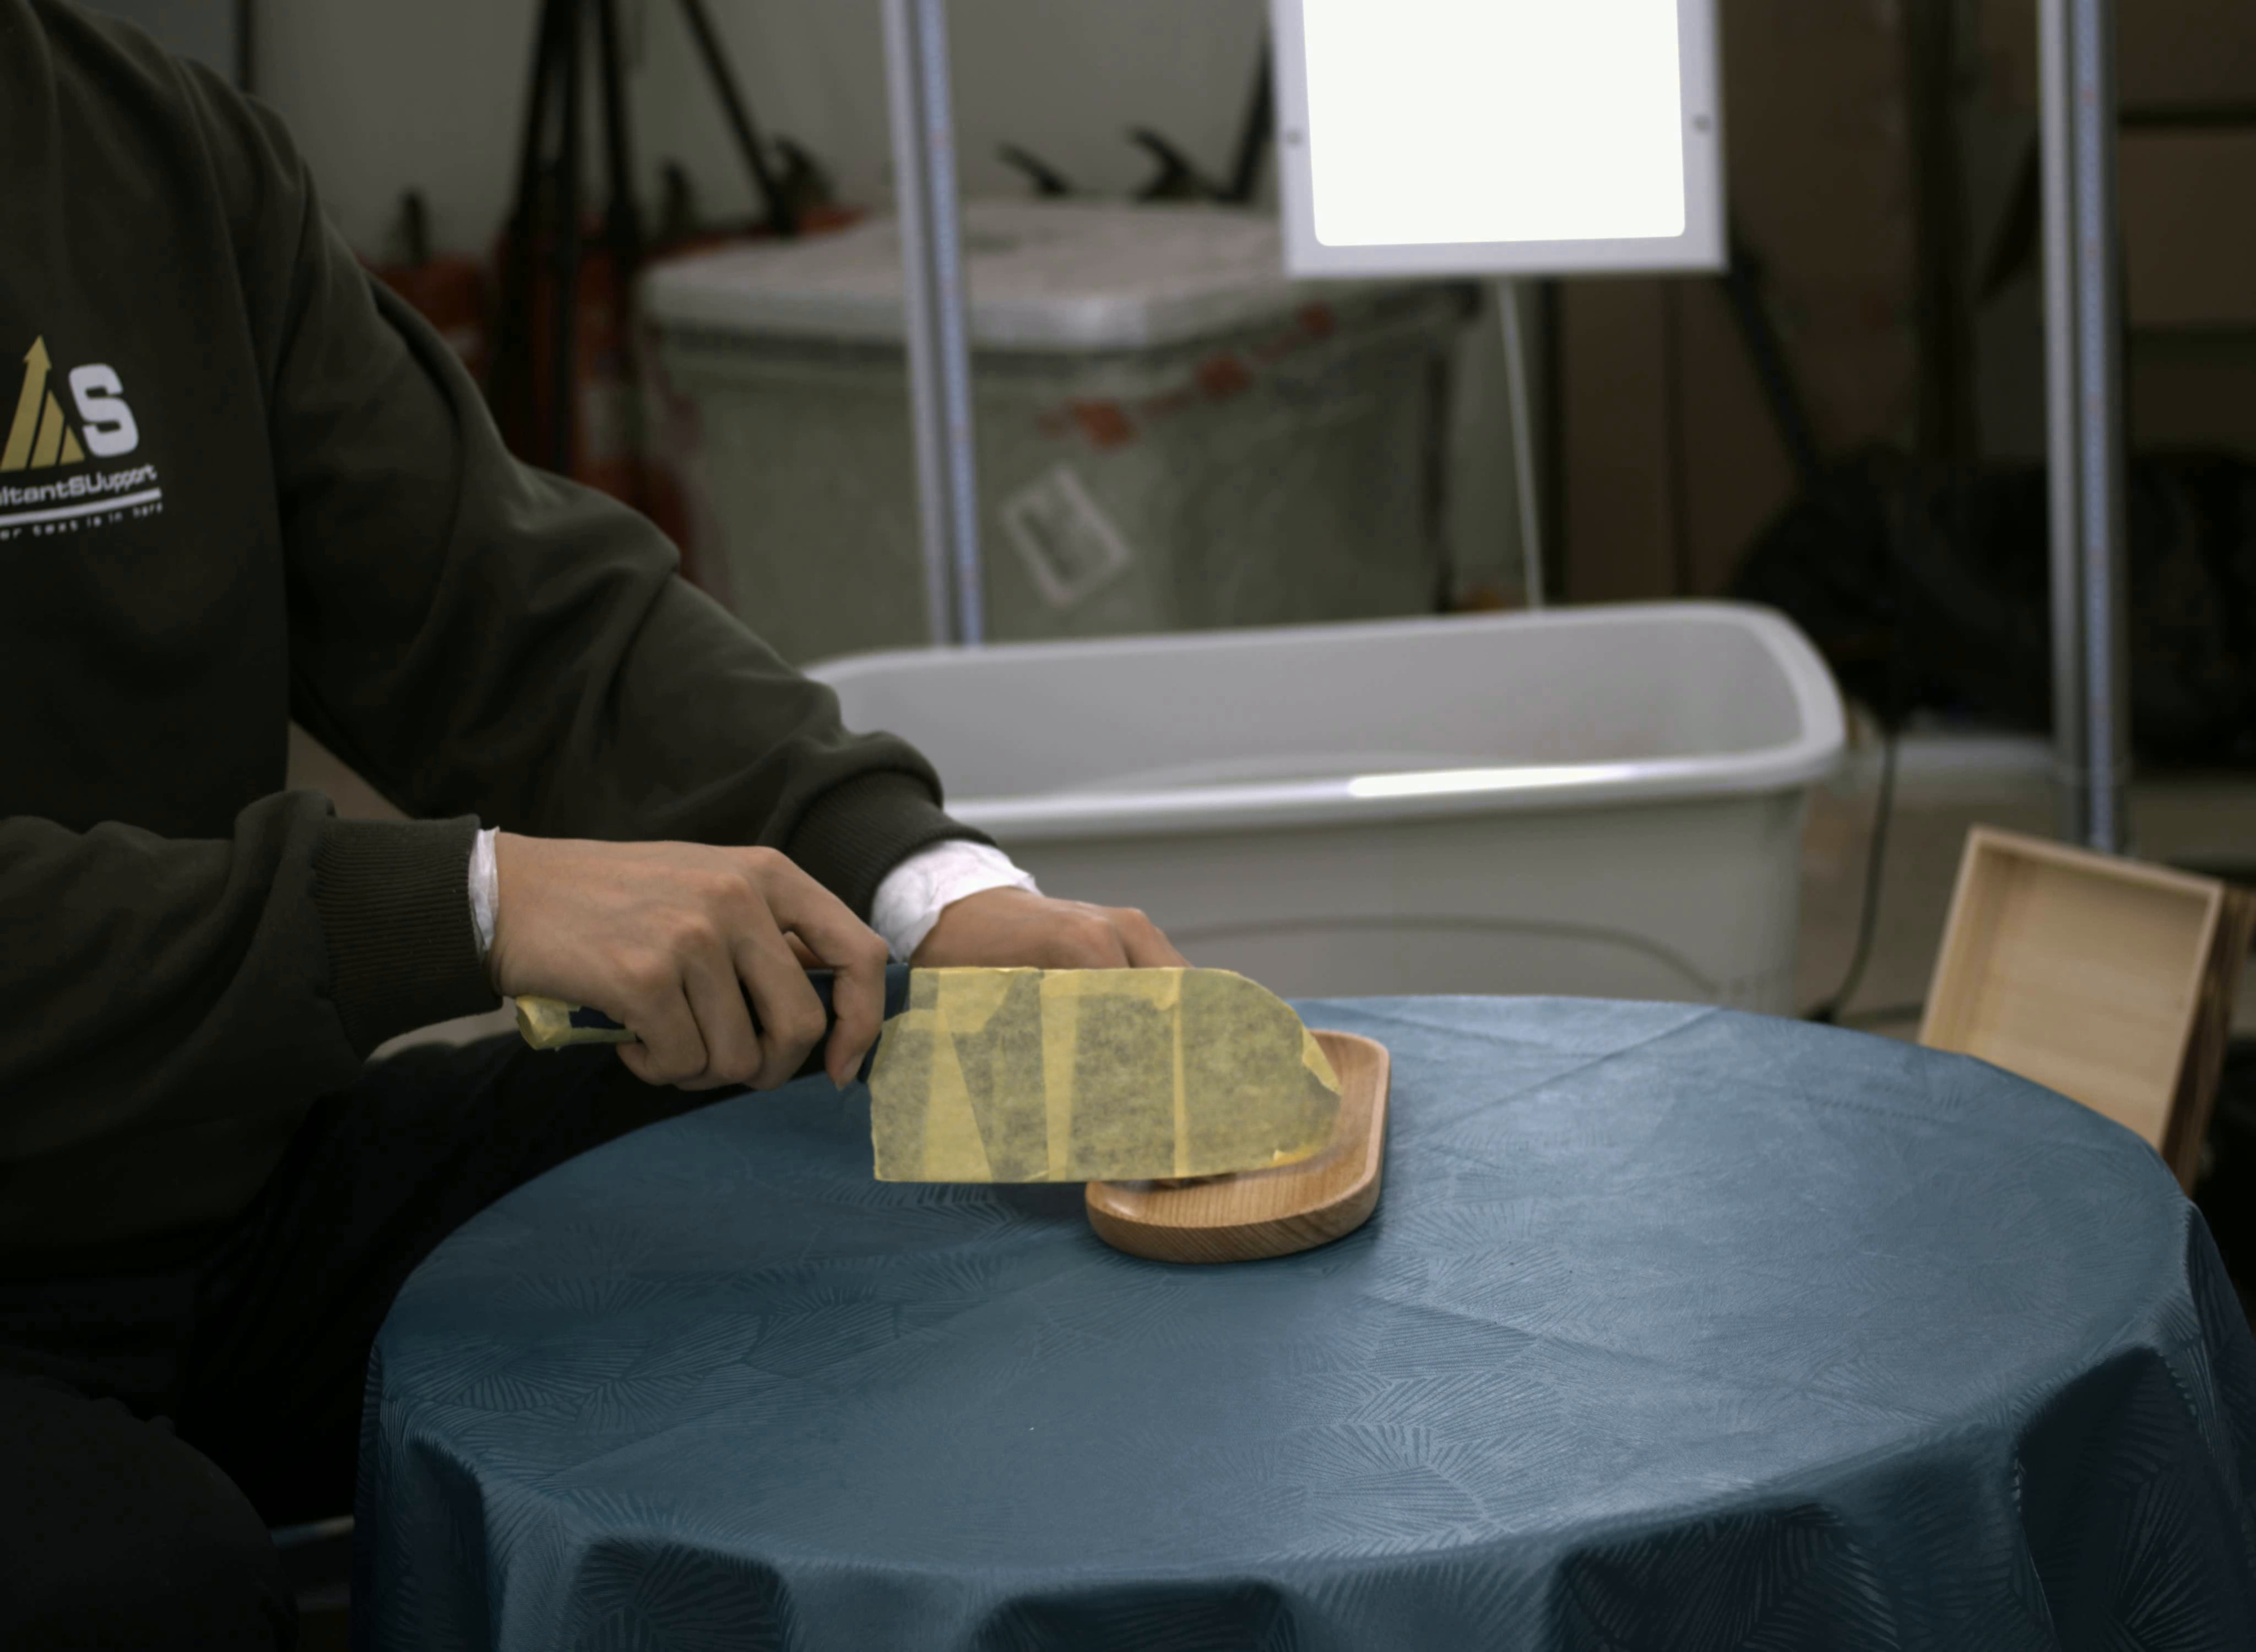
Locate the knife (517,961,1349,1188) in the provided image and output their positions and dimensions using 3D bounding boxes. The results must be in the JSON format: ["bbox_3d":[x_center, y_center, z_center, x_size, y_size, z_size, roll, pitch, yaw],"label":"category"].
[{"bbox_3d":[-0.063,0.082,1.864,0.286,0.081,0.027,3,-8,-10],"label":"knife"}]

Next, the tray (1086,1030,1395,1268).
[{"bbox_3d":[0.042,0.111,1.919,0.102,0.020,0.229,-6,15,6],"label":"tray"}]
